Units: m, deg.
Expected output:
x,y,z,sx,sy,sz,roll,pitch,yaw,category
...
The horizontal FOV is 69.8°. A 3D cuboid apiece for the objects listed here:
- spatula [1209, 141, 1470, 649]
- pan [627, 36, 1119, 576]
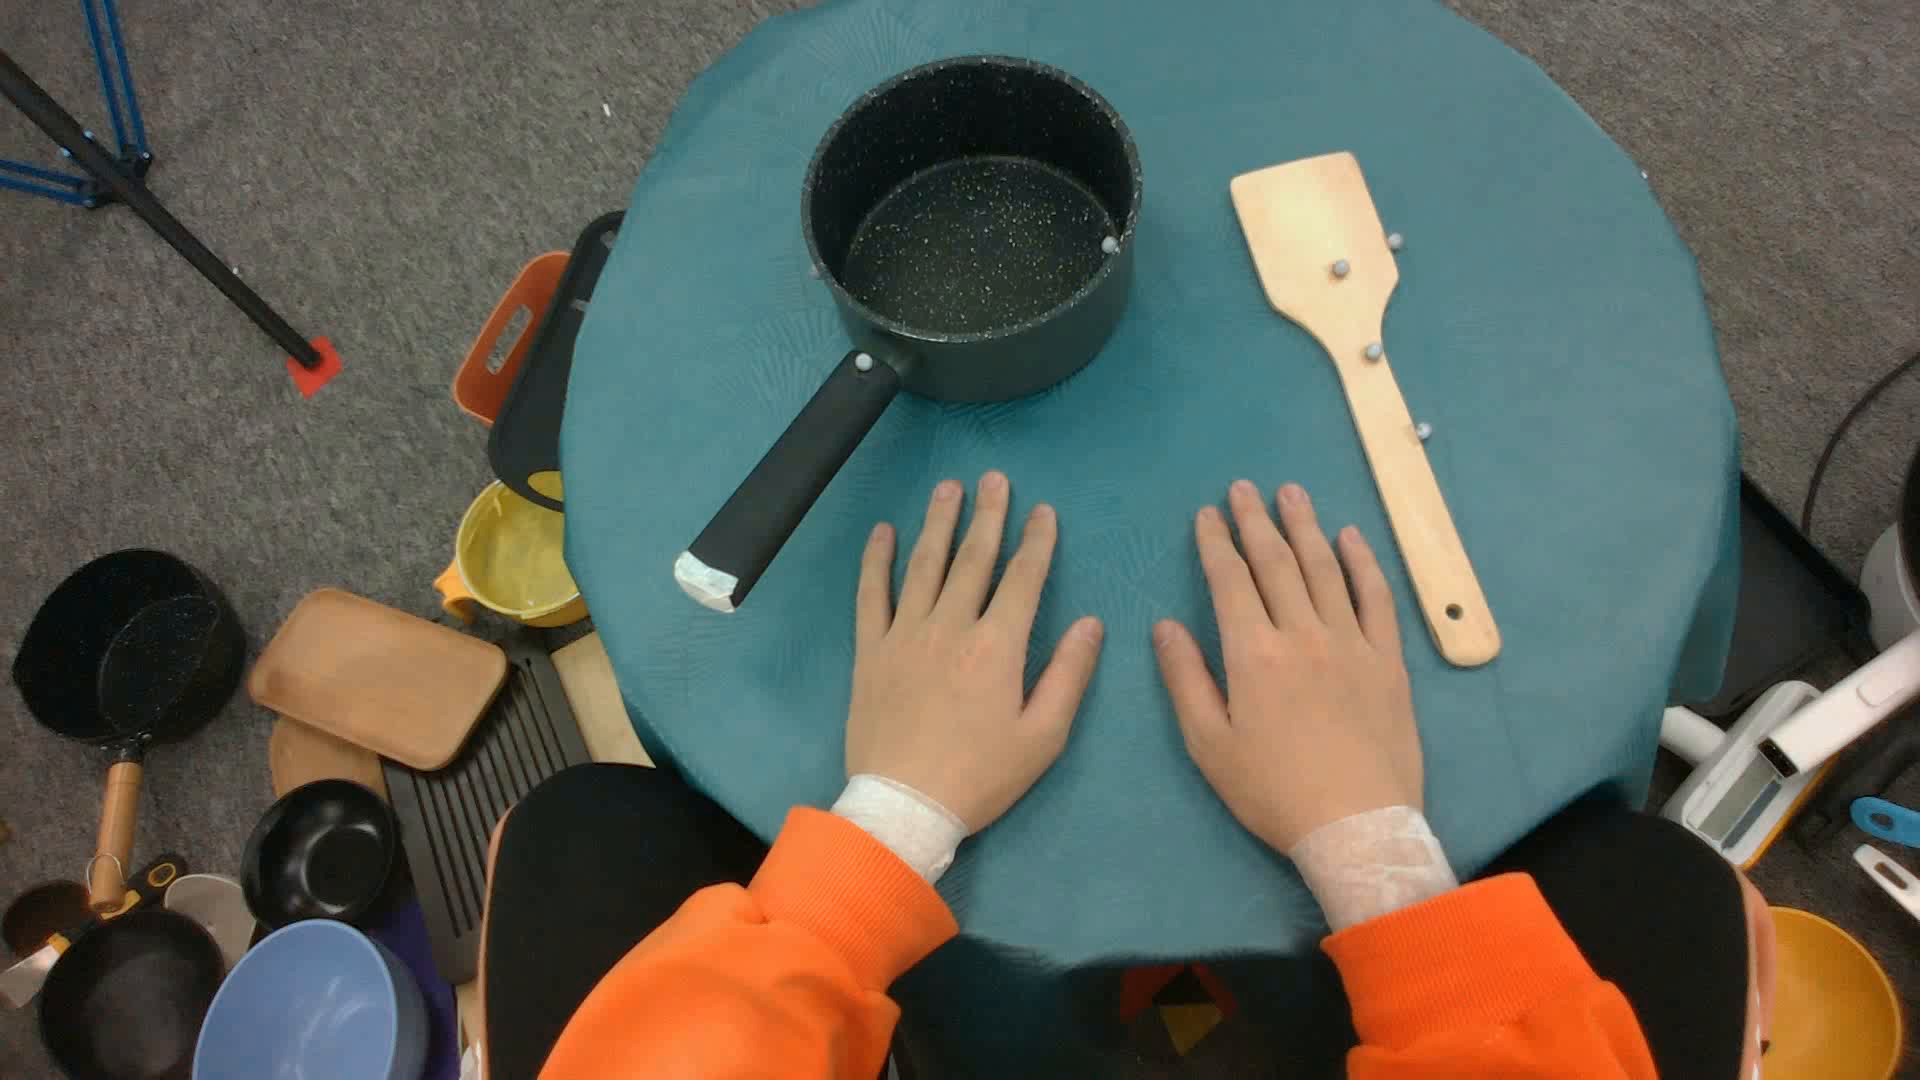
x,y,z,sx,sy,sz,roll,pitch,yaw,category
0.198,-0.082,0.696,0.072,0.010,0.294,-11,66,-3,spatula
-0.045,-0.107,0.690,0.172,0.086,0.330,28,71,17,pan
